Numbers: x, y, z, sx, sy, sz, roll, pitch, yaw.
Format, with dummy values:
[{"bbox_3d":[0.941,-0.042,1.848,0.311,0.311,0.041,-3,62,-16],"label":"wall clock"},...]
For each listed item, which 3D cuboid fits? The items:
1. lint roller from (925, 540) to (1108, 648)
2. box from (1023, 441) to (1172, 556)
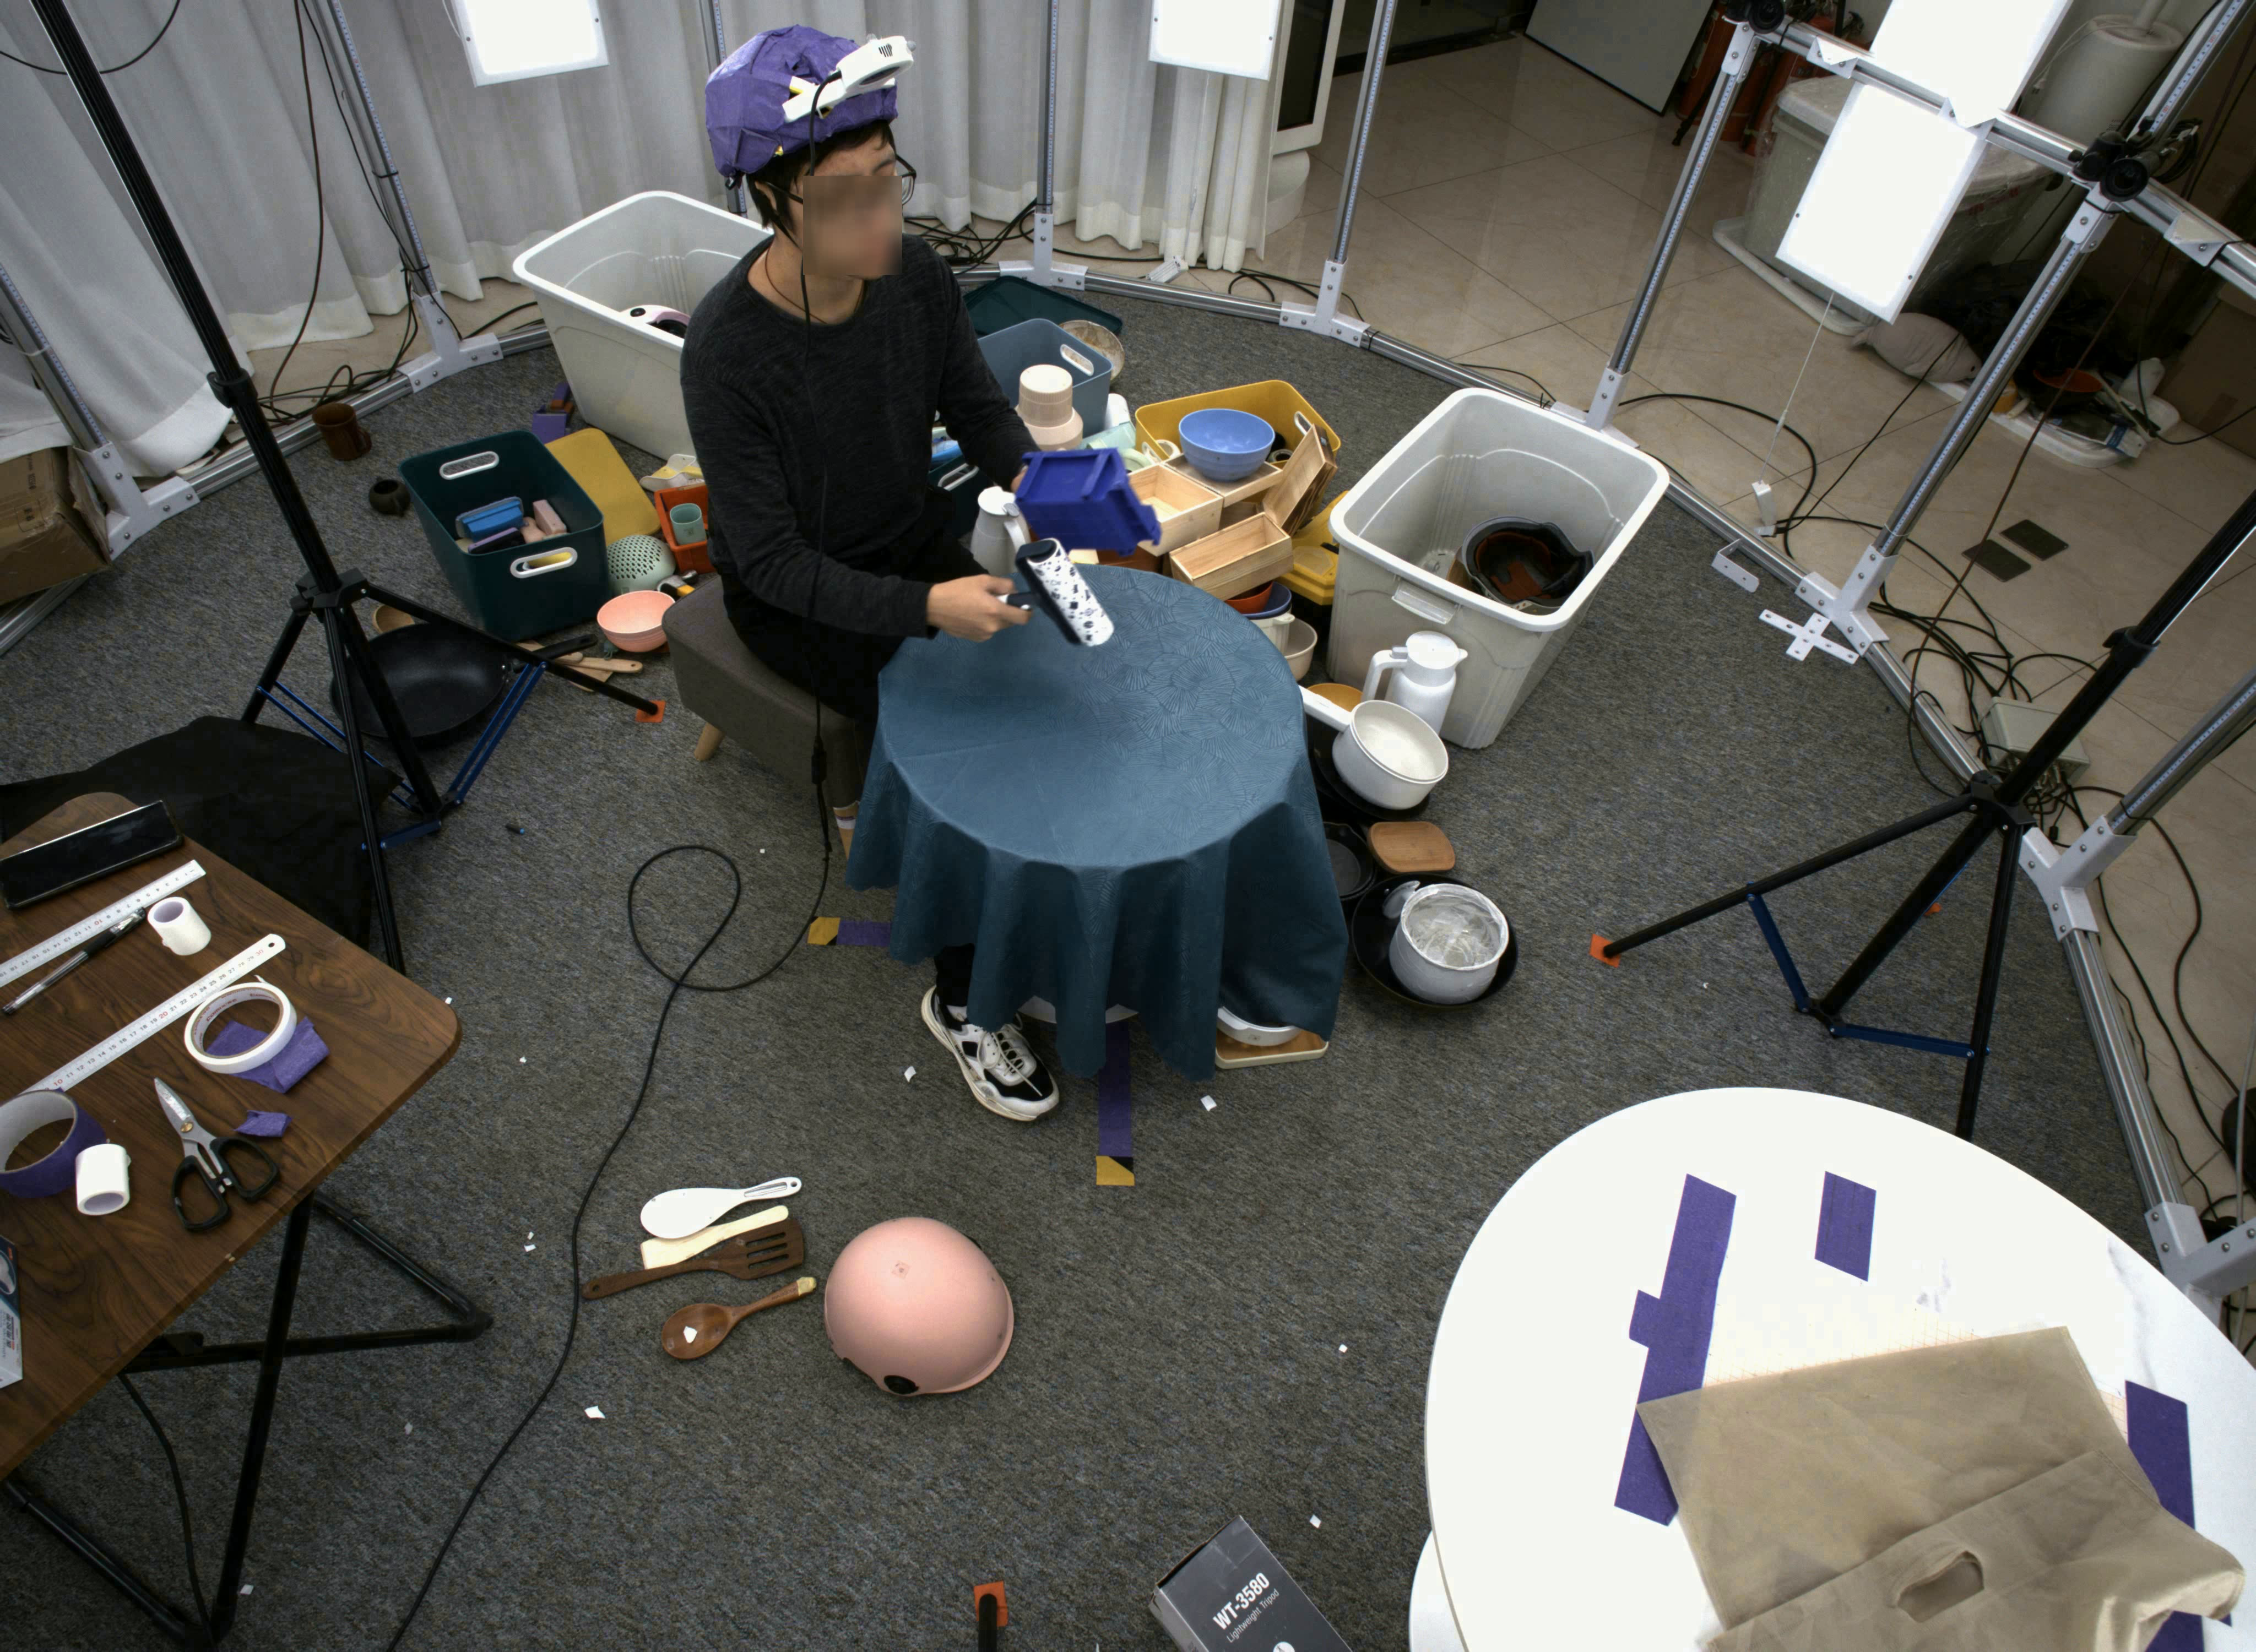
[{"bbox_3d":[-0.168,-0.291,1.737,0.247,0.172,0.051,-9,52,26],"label":"lint roller"},{"bbox_3d":[-0.039,-0.427,1.696,0.180,0.122,0.083,4,61,32],"label":"box"}]
